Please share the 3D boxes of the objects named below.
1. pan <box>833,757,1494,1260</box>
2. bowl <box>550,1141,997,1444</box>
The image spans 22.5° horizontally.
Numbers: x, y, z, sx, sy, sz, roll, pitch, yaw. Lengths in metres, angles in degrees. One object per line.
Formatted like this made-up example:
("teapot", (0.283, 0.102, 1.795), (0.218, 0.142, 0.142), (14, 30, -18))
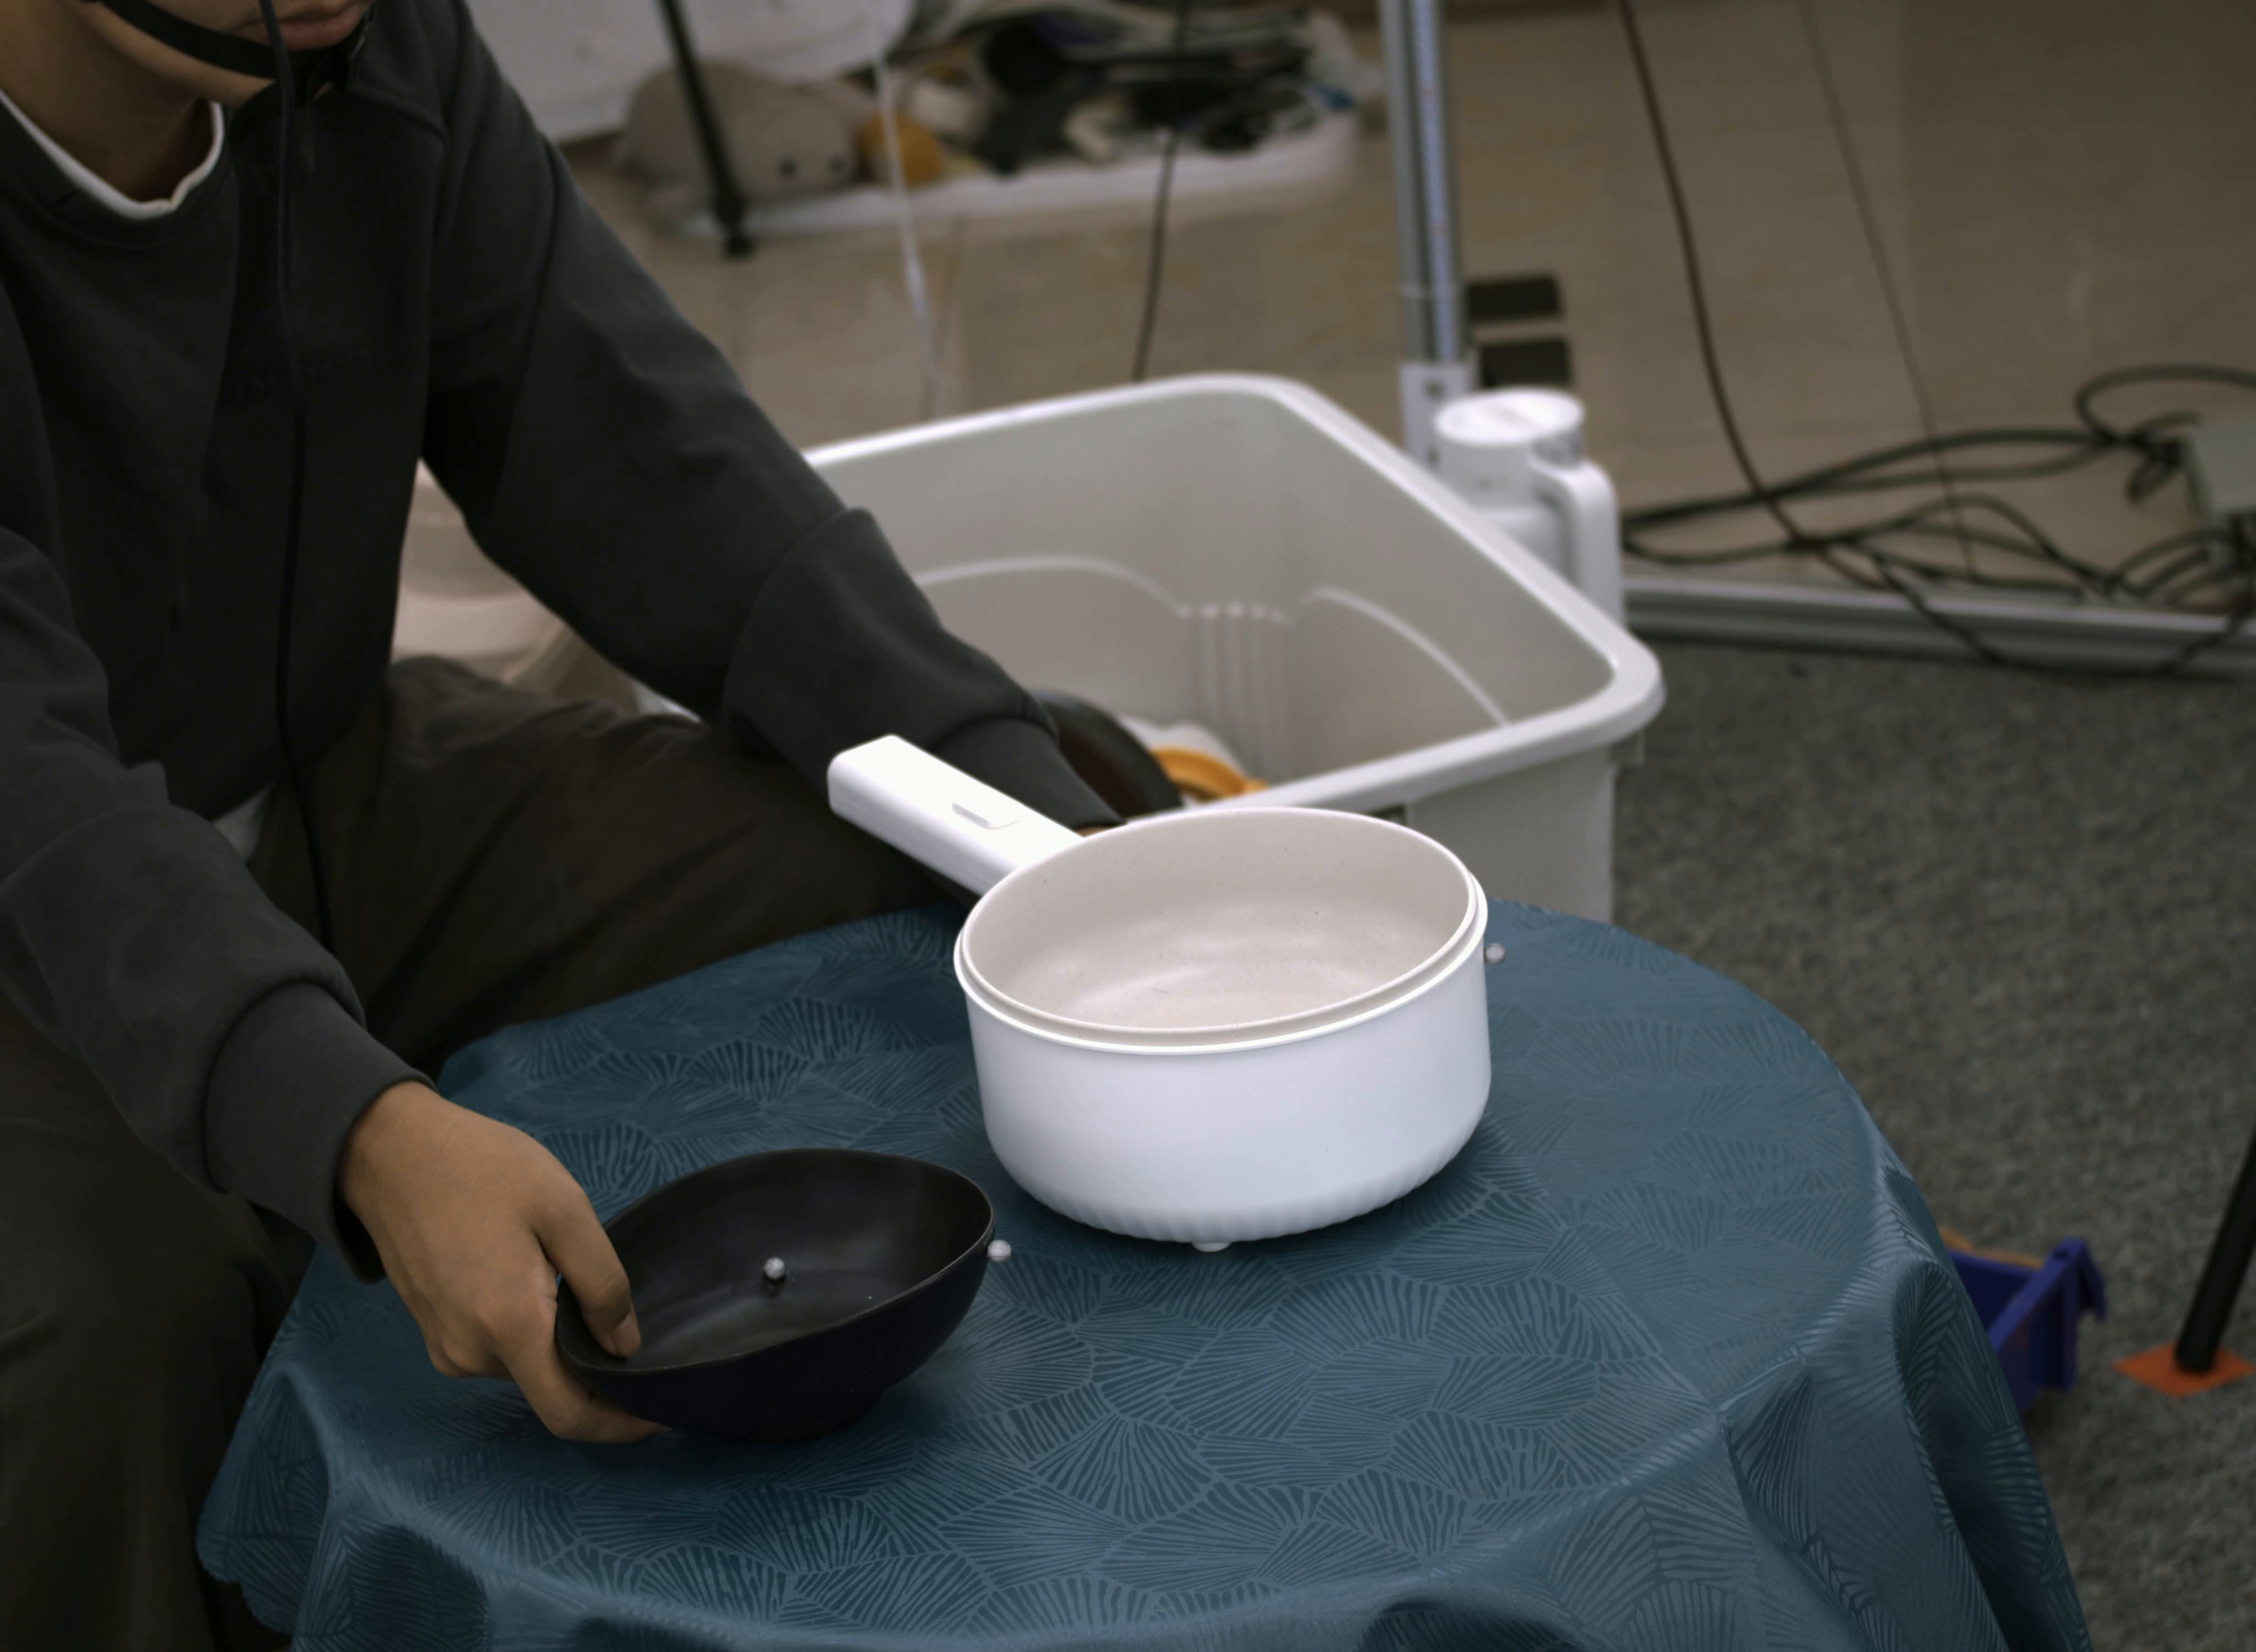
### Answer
("pan", (-0.004, 0.063, 2.208), (0.200, 0.103, 0.351), (-23, 27, -28))
("bowl", (-0.122, 0.175, 2.017), (0.169, 0.068, 0.136), (-24, 30, -34))
